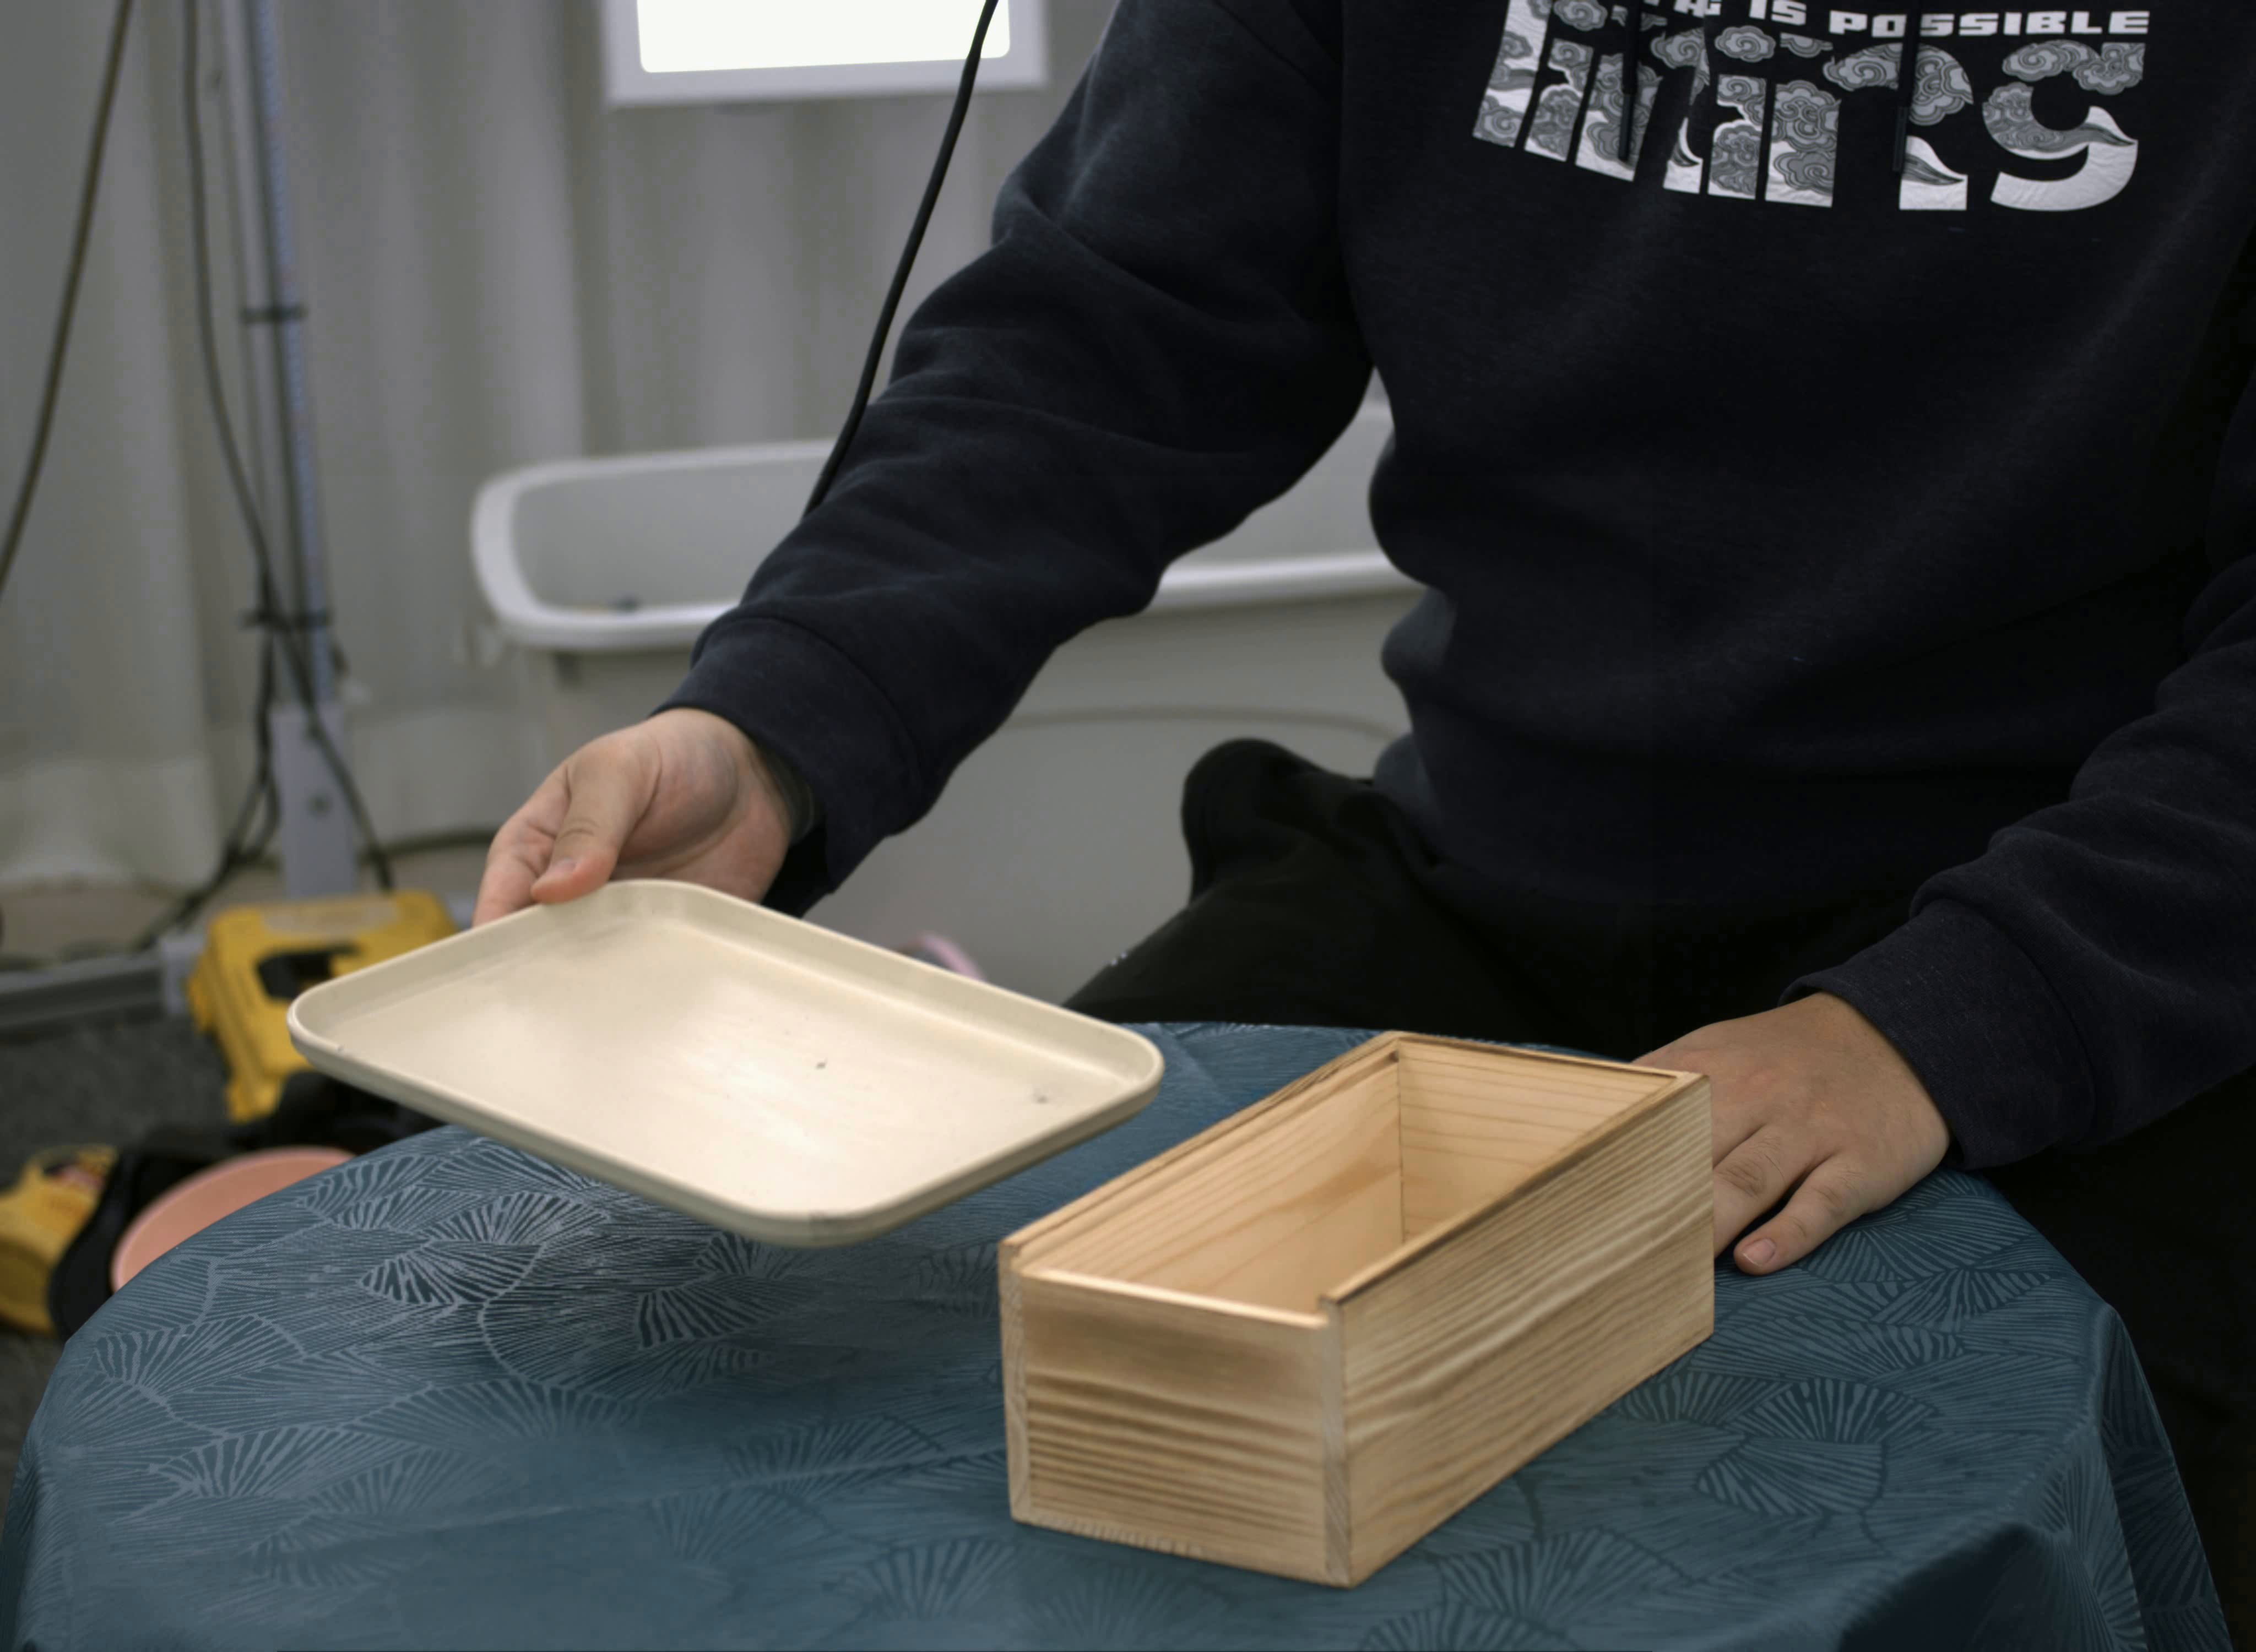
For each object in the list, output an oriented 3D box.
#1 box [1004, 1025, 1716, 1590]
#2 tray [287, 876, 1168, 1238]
[{"bbox_3d":[0.068,0.128,1.503,0.108,0.080,0.211,7,17,31],"label":"box"},{"bbox_3d":[-0.120,0.068,1.634,0.241,0.017,0.171,17,25,38],"label":"tray"}]
